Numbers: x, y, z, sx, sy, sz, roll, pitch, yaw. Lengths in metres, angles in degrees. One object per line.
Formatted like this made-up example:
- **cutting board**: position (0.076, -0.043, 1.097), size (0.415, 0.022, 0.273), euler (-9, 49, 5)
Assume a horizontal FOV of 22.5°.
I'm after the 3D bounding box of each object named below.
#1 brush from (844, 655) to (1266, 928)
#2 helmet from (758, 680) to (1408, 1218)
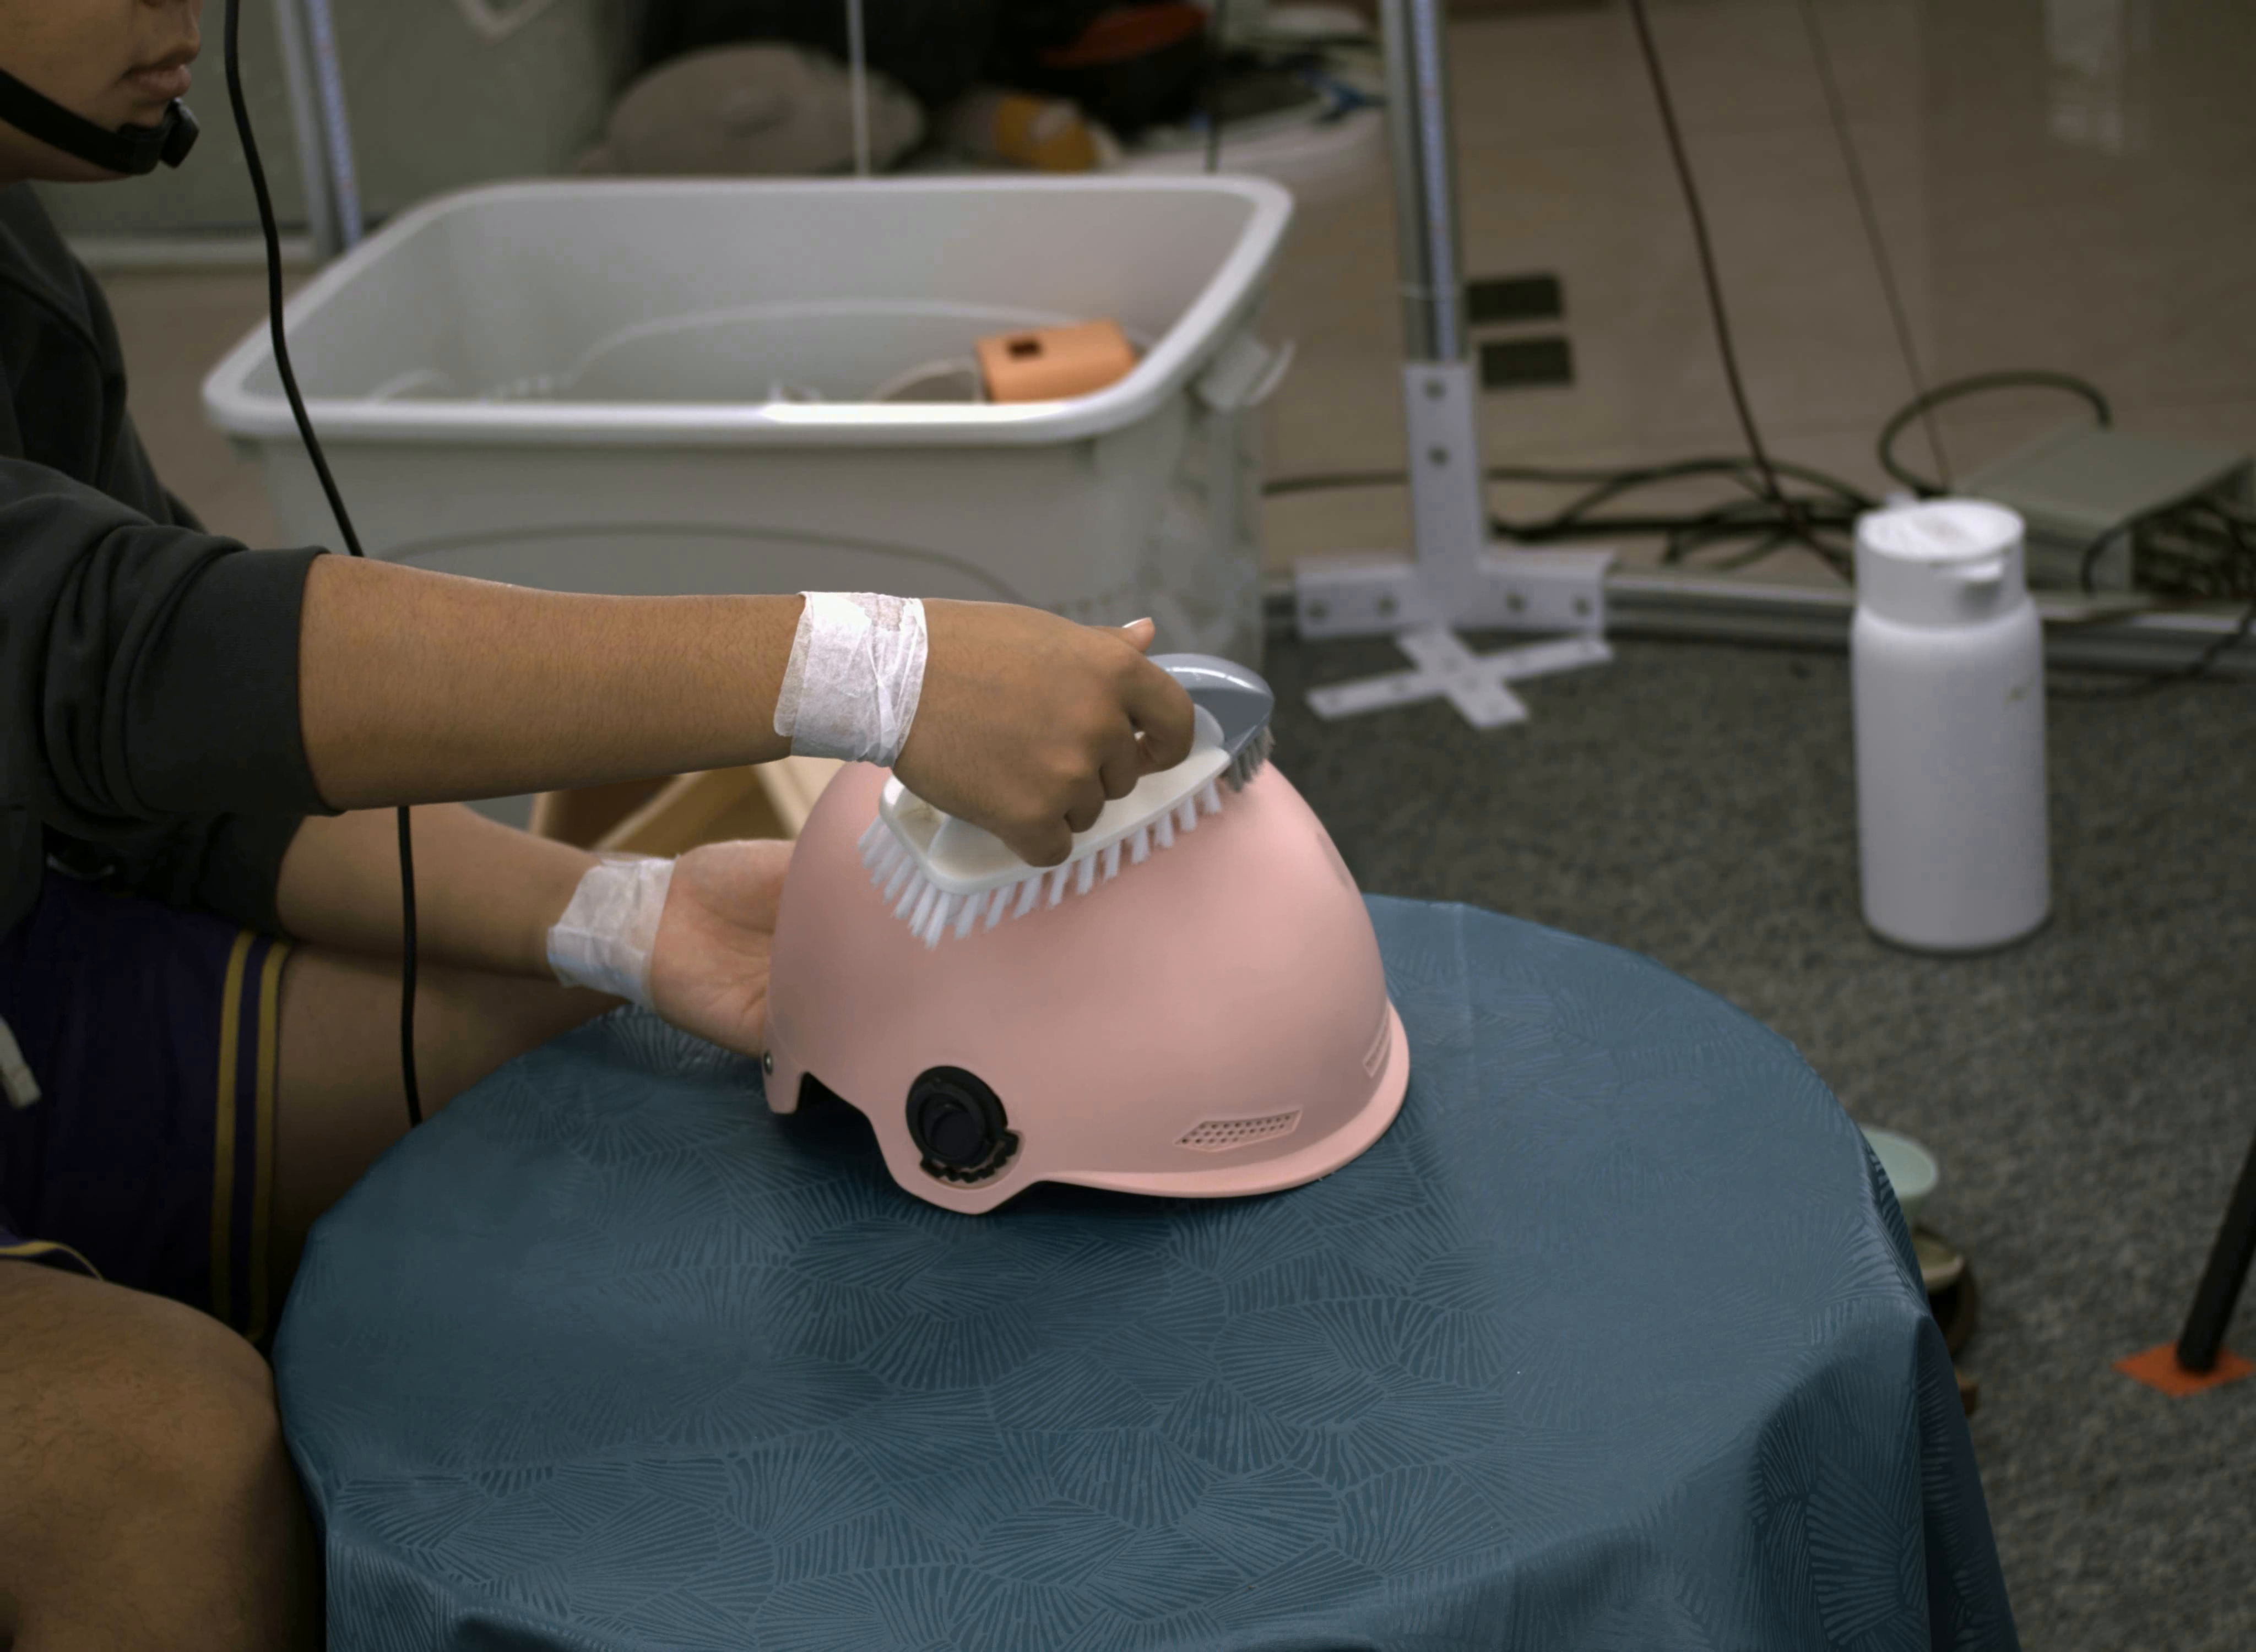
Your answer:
- **brush**: position (-0.014, -0.029, 2.077), size (0.174, 0.096, 0.061), euler (-19, 62, -32)
- **helmet**: position (-0.017, 0.034, 2.193), size (0.264, 0.161, 0.232), euler (22, 36, 33)
